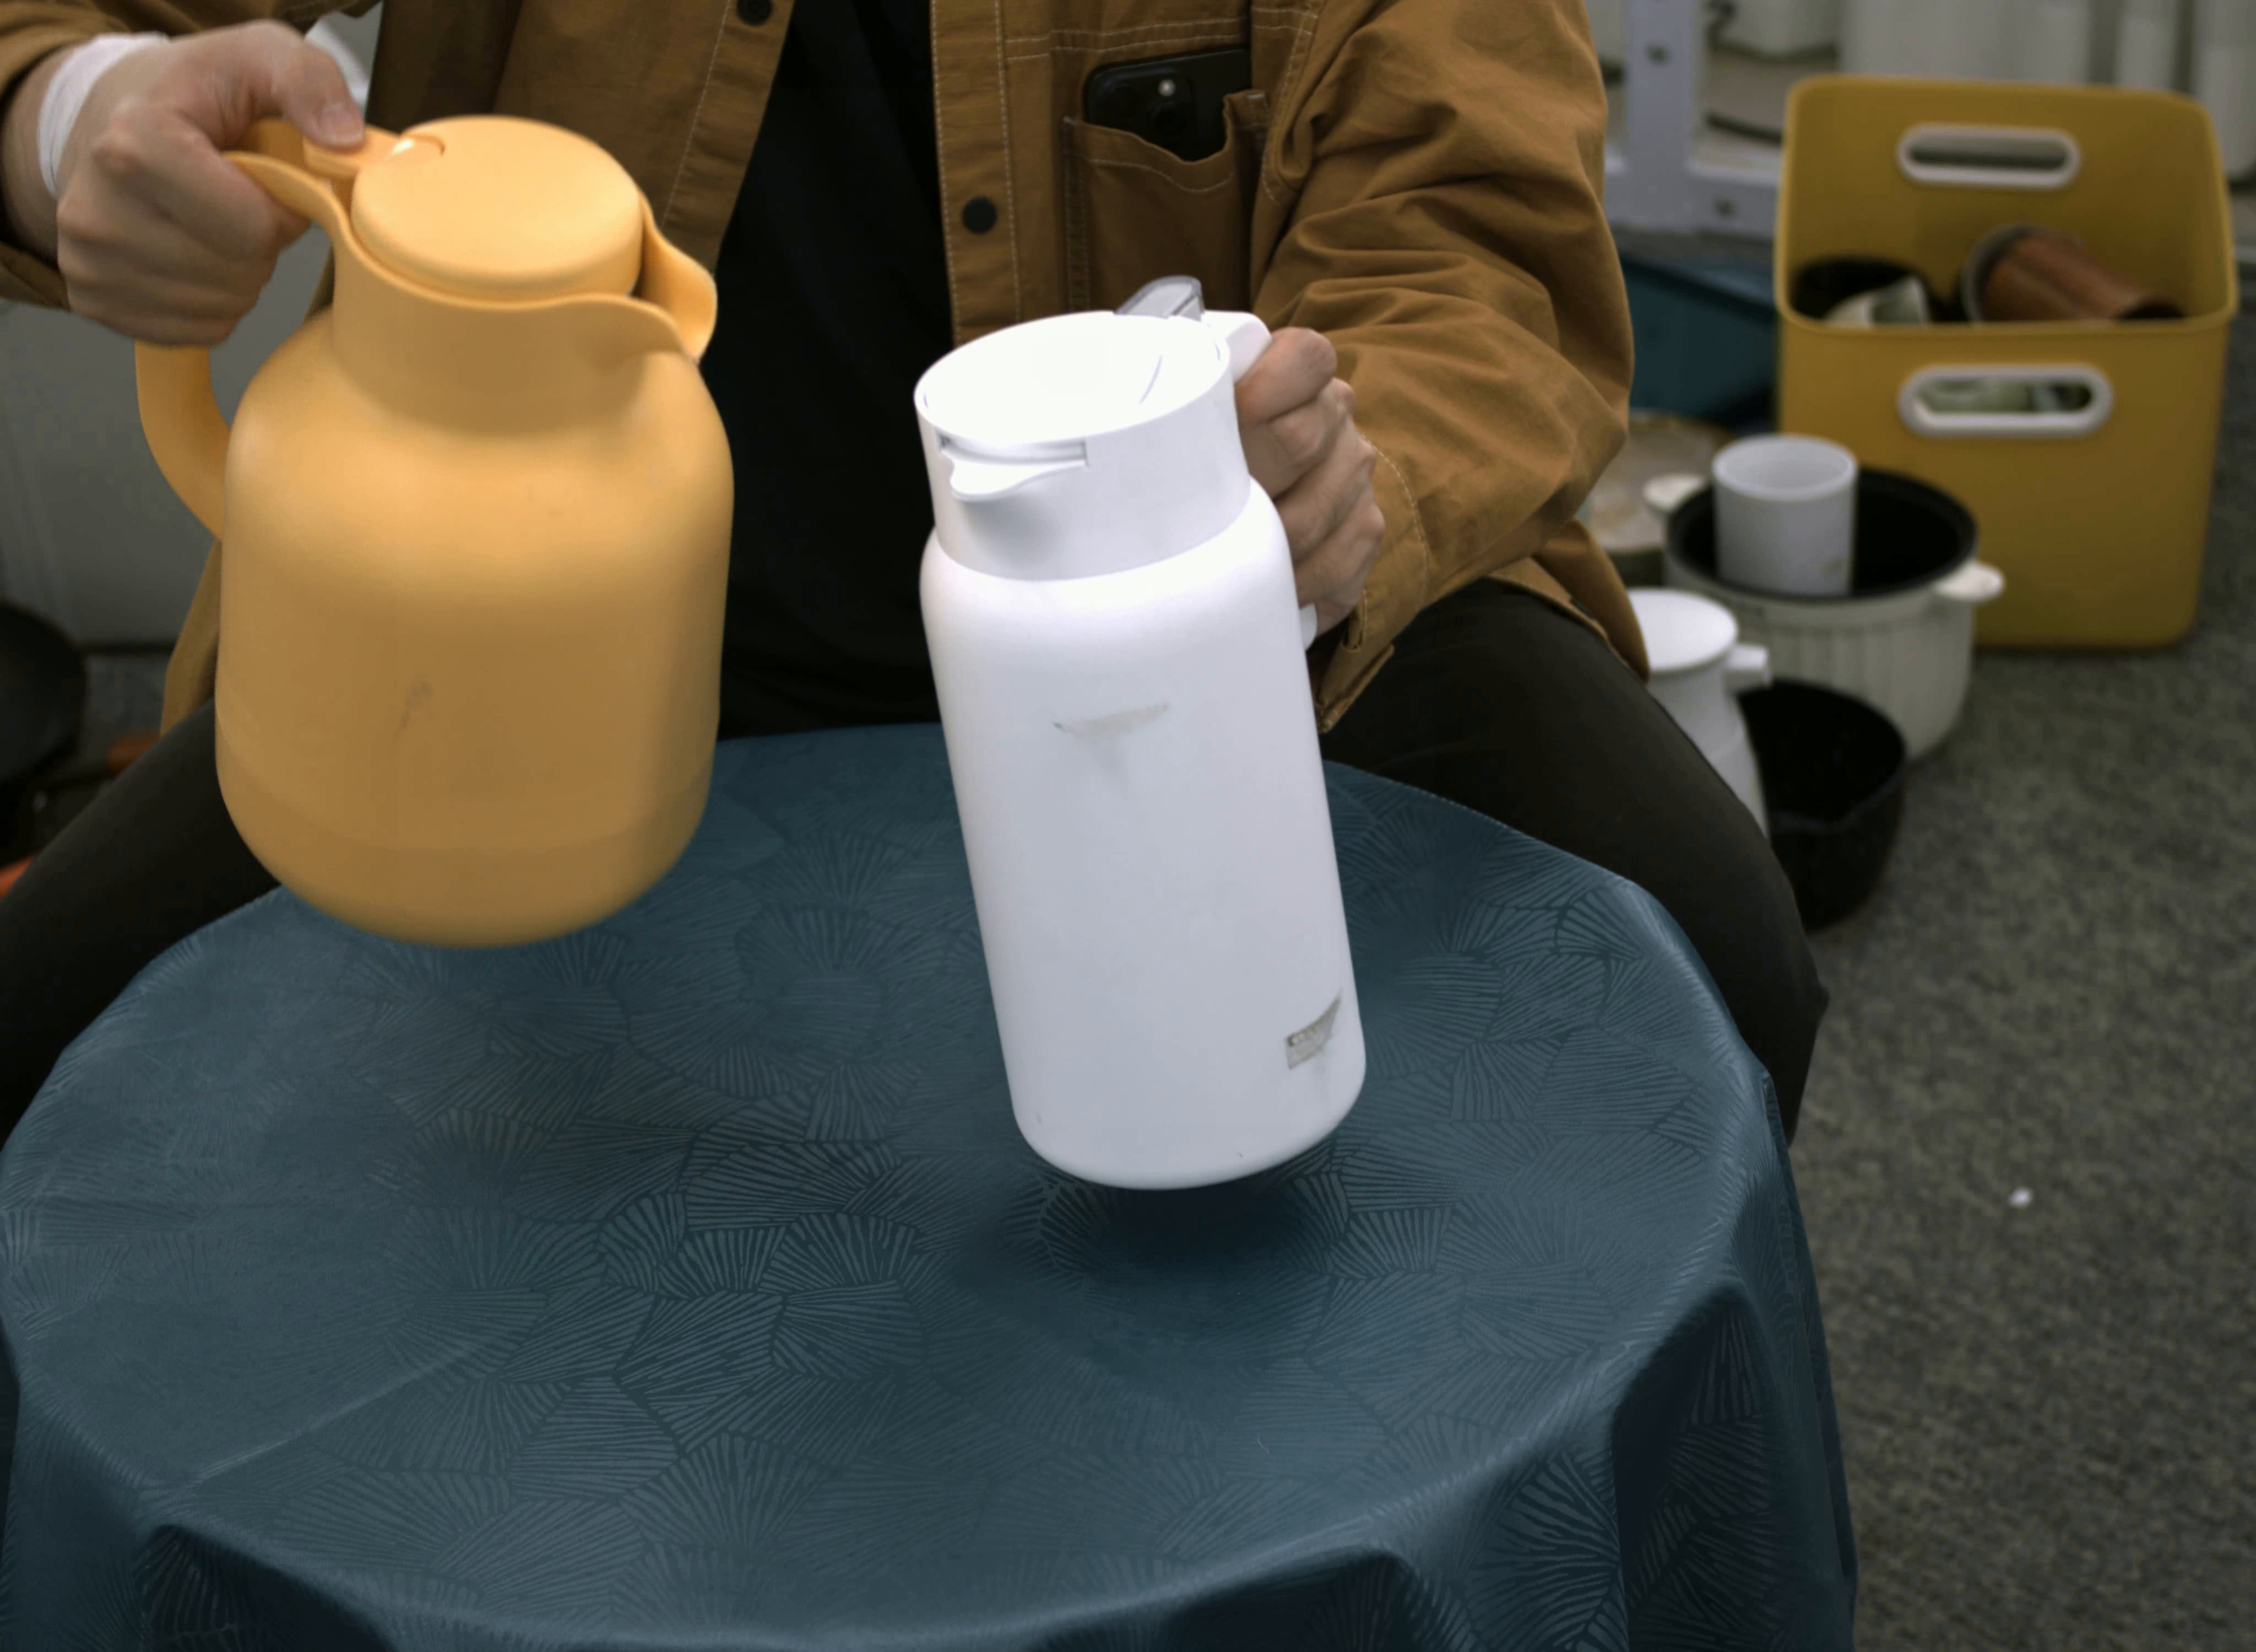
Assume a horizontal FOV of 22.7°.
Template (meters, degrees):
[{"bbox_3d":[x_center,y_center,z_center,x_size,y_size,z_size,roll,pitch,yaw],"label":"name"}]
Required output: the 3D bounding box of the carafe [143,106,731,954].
[{"bbox_3d":[-0.223,-0.105,1.792,0.202,0.256,0.166,24,37,17],"label":"carafe"}]

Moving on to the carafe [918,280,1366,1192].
[{"bbox_3d":[0.009,-0.032,1.798,0.123,0.266,0.176,3,28,29],"label":"carafe"}]
